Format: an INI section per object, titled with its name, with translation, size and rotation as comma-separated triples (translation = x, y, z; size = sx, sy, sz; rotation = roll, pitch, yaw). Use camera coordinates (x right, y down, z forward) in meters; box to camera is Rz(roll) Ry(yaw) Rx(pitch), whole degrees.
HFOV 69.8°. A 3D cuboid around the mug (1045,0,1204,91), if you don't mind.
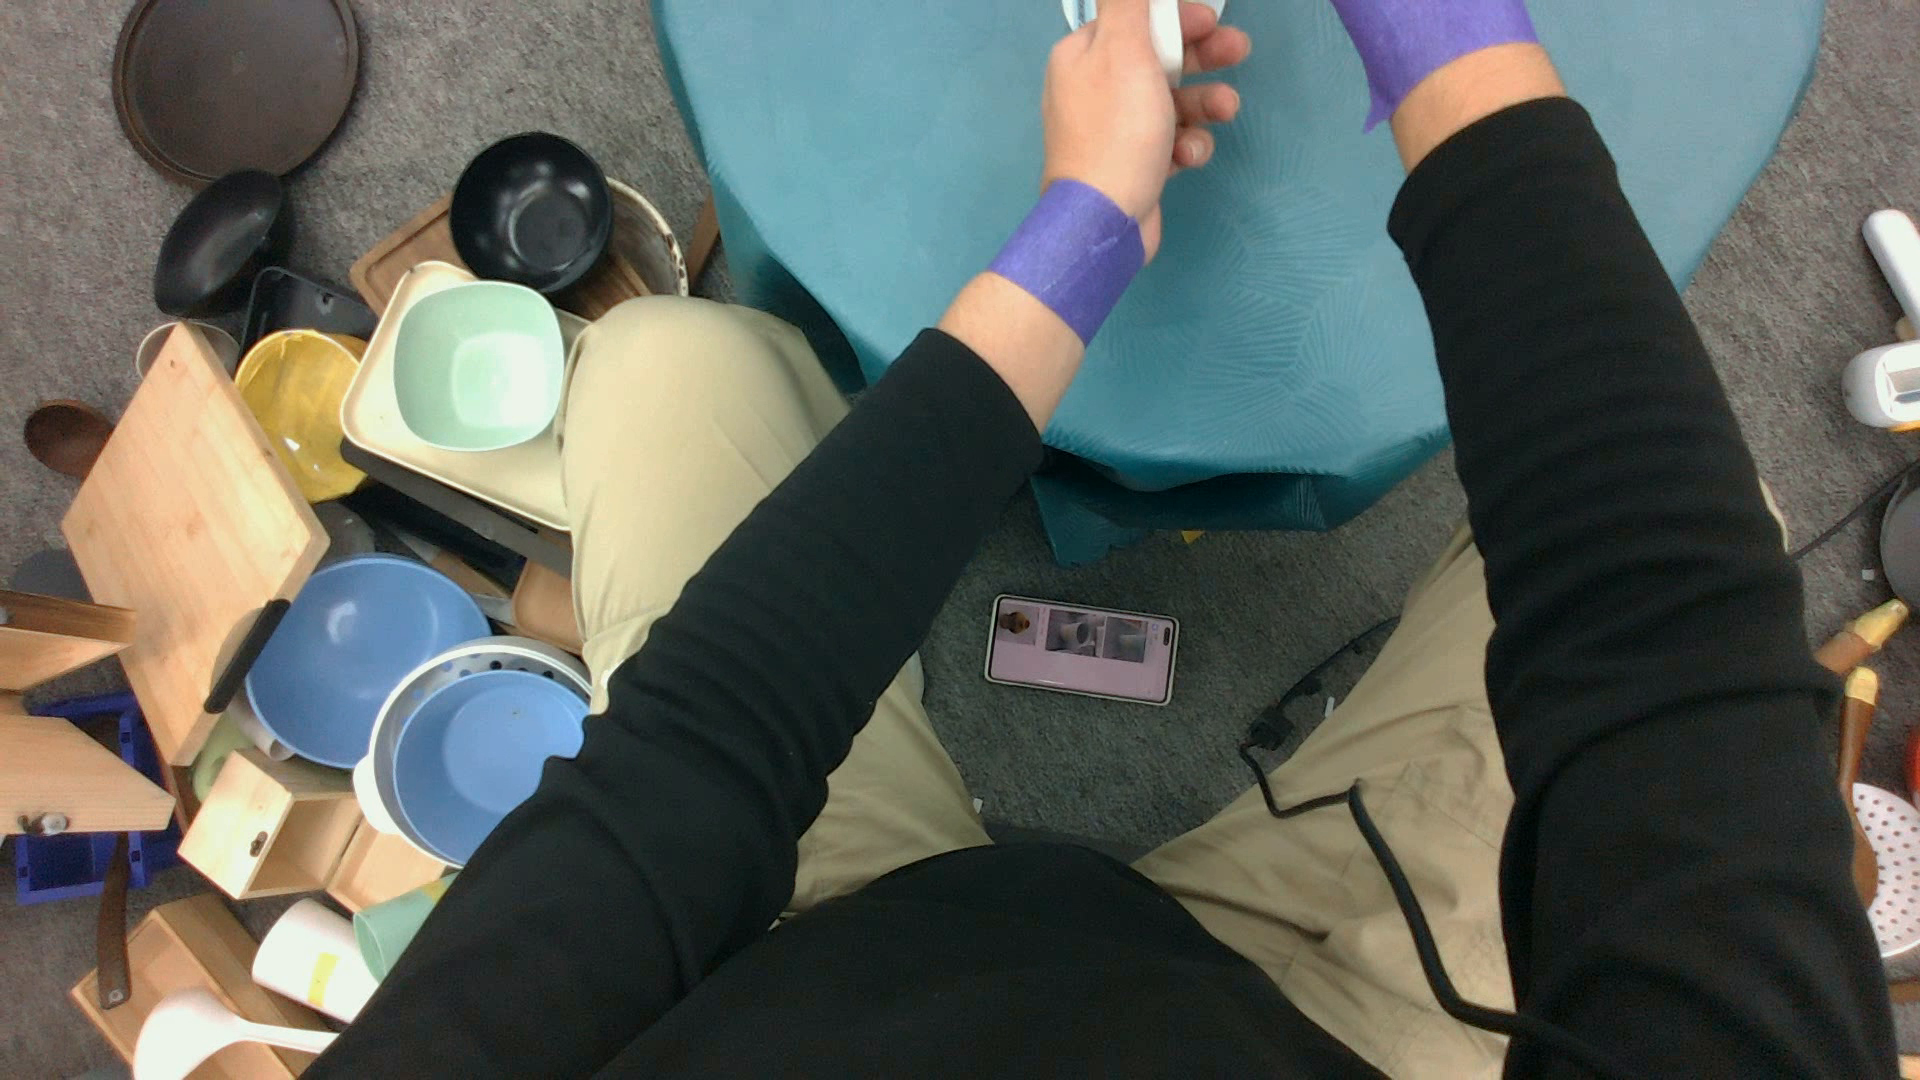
[mug]
translation = 0.083, -0.272, 0.654
size = 0.085, 0.102, 0.118
rotation = -6, 83, 2
